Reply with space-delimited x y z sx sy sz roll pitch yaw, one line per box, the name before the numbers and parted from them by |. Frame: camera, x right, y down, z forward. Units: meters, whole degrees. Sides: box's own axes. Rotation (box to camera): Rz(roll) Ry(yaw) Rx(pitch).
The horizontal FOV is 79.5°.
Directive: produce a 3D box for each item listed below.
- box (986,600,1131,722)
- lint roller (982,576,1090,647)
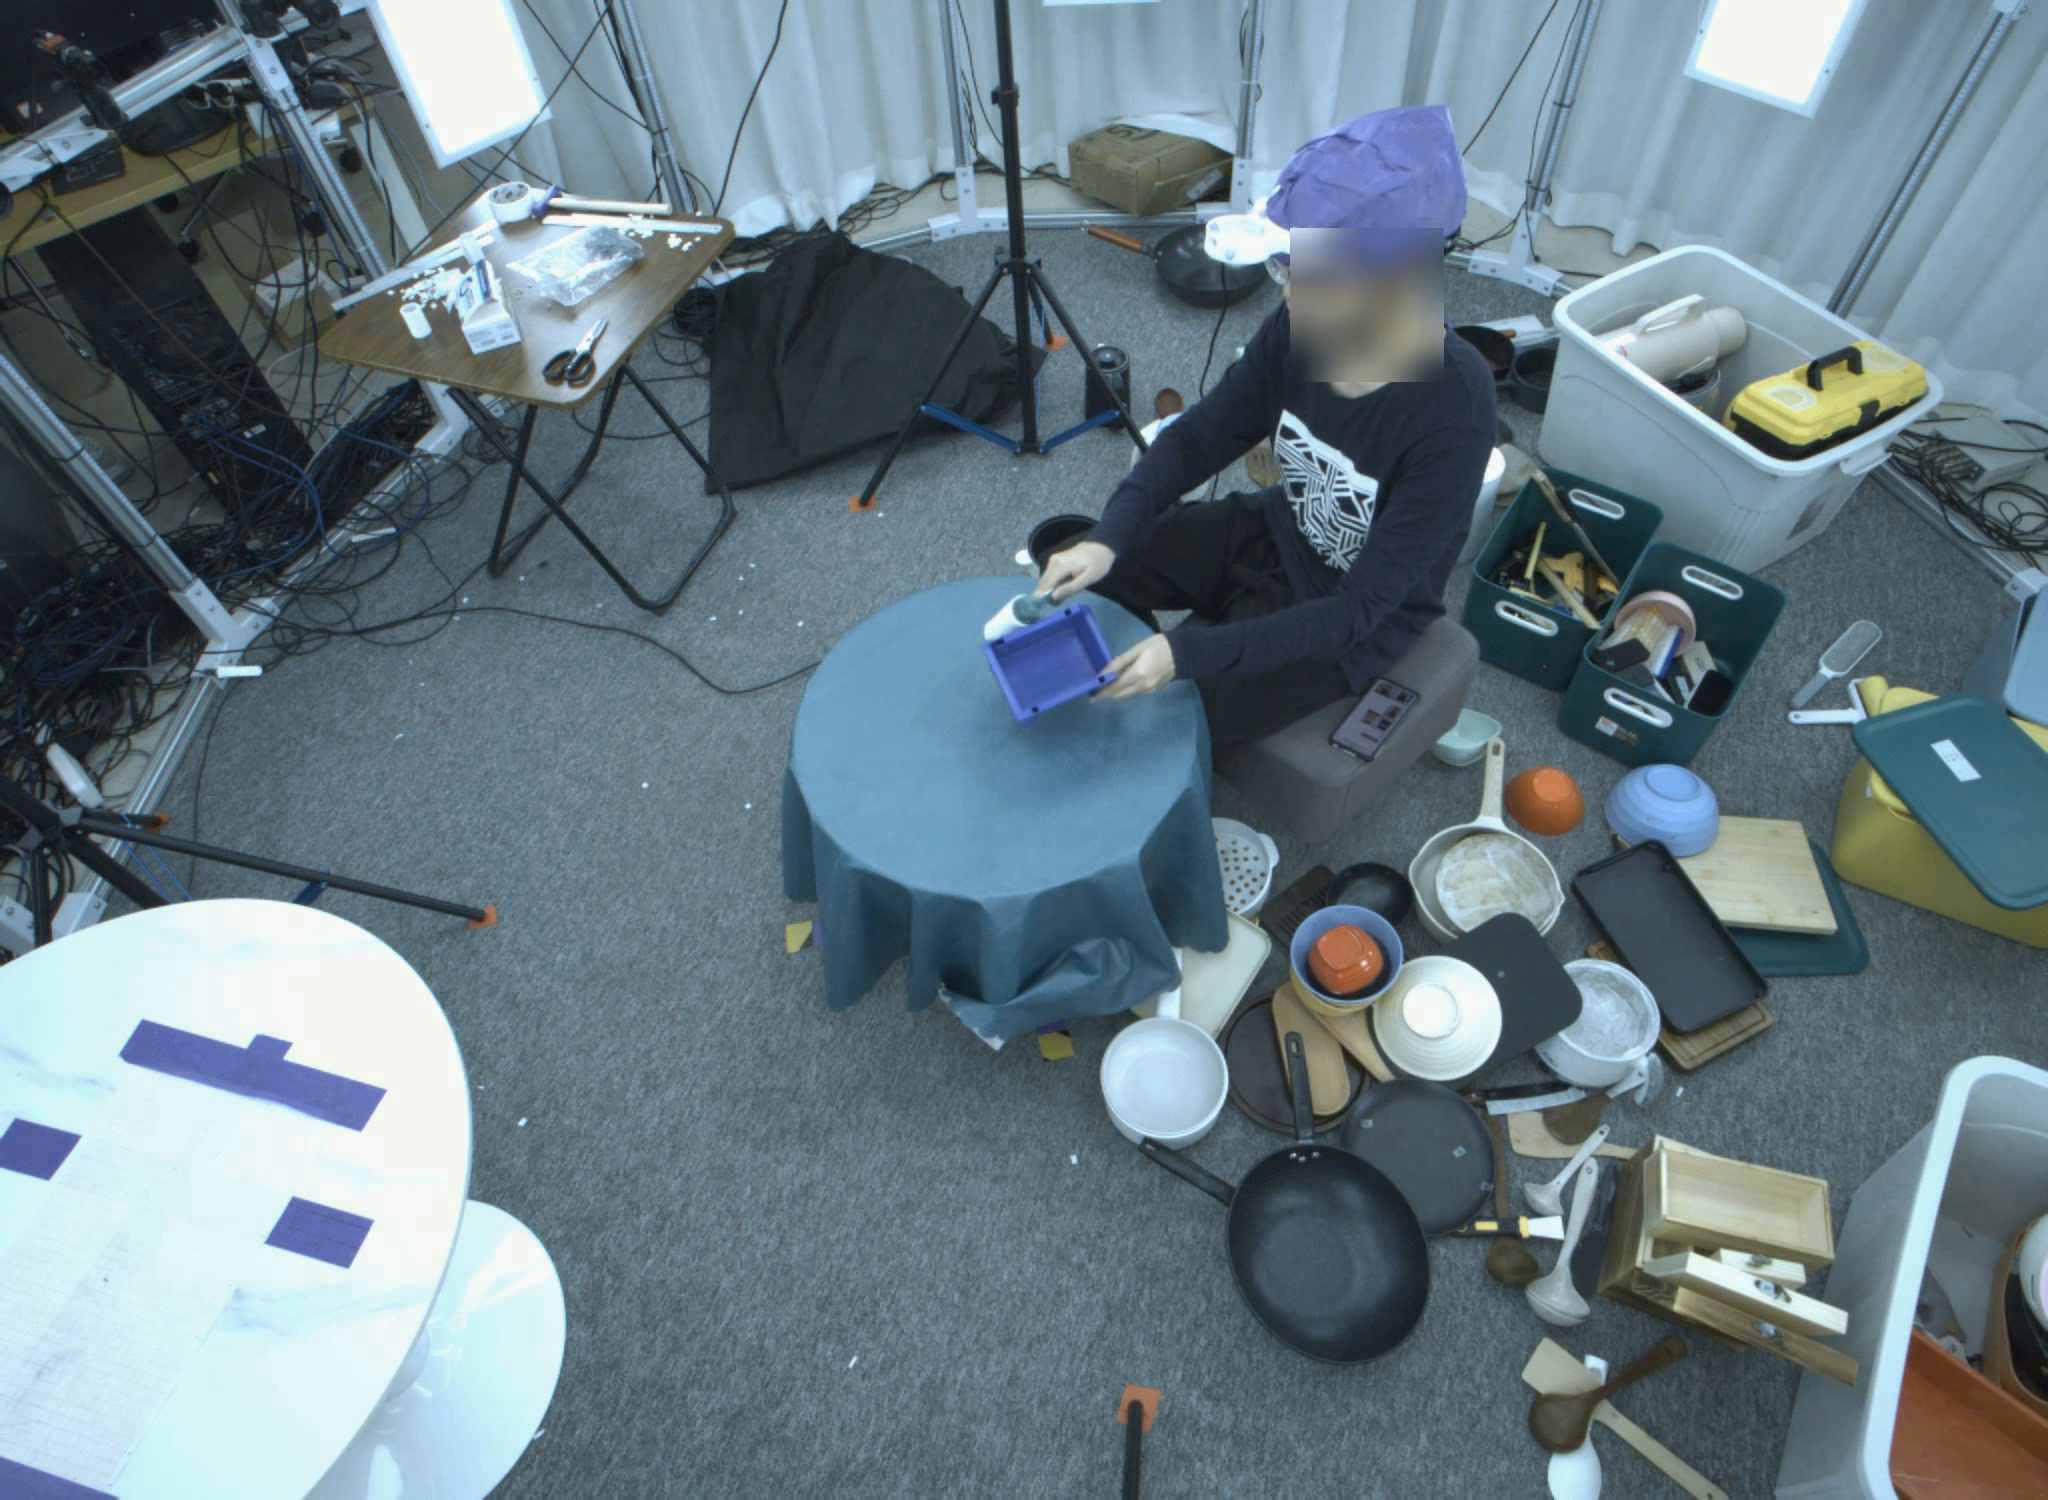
box | 0.049 -0.129 1.745 0.180 0.082 0.124 -23 82 -9
lint roller | 0.024 -0.222 1.793 0.181 0.133 0.048 -41 94 -29
